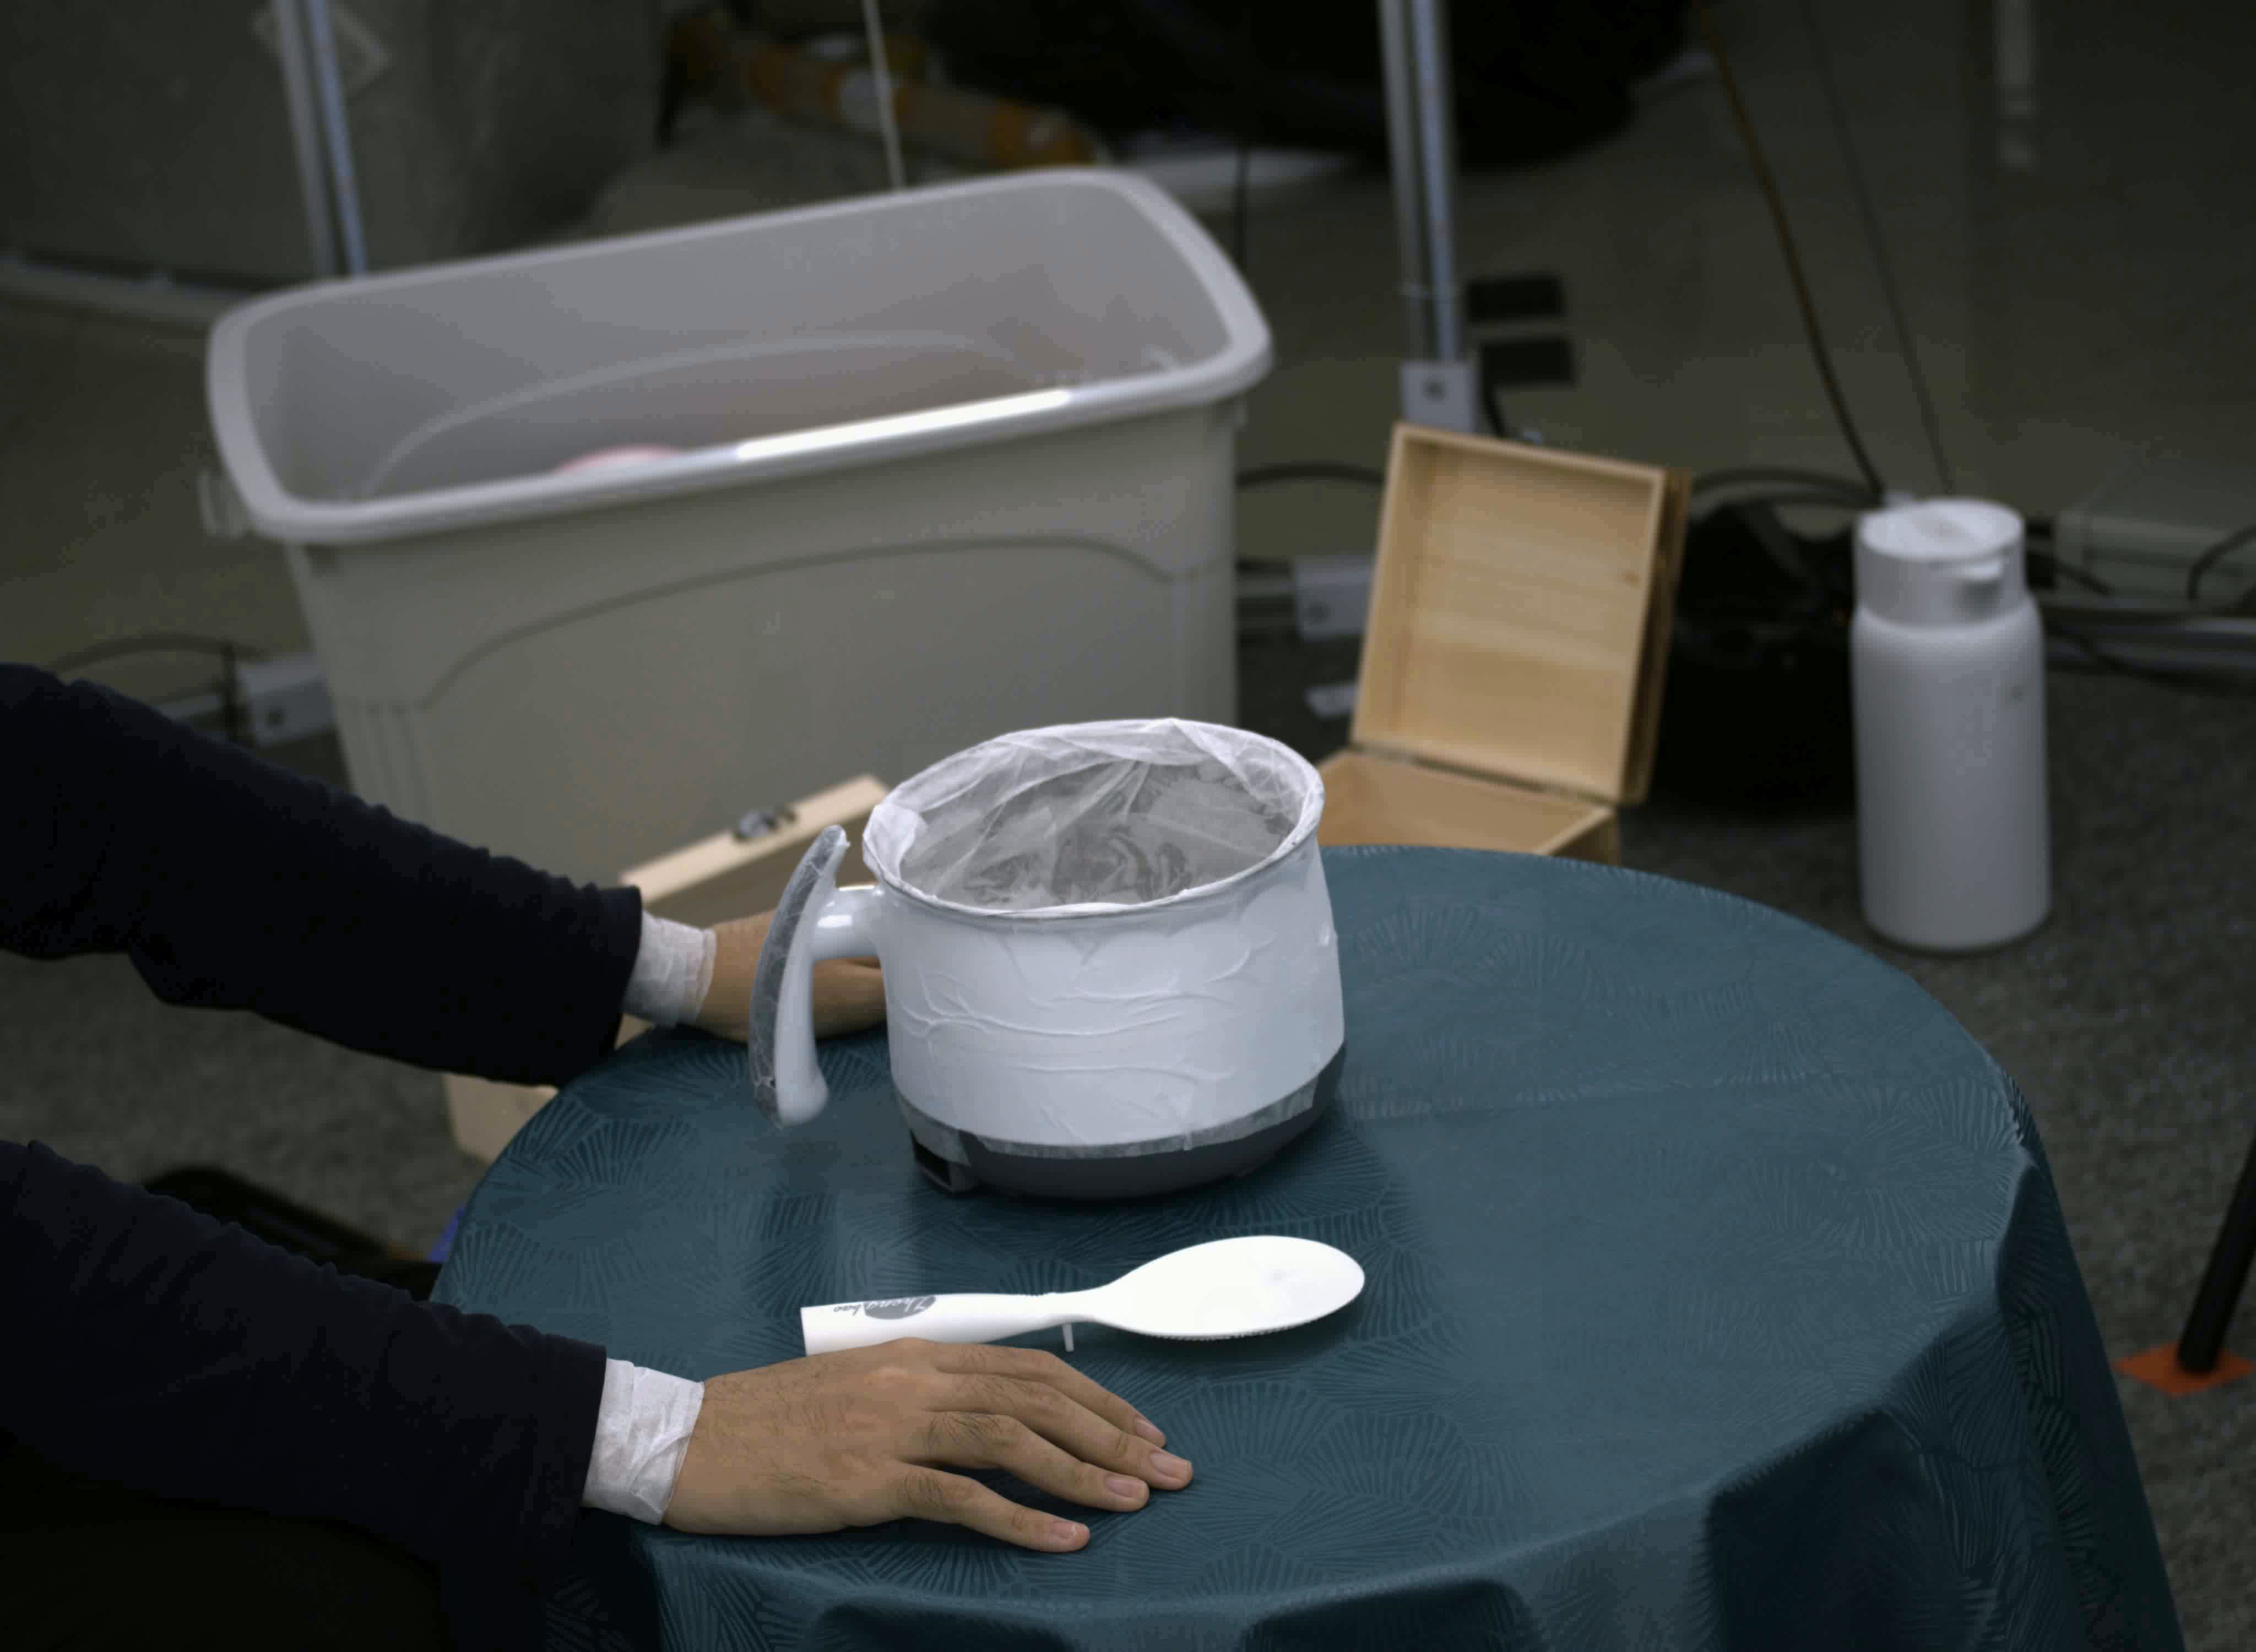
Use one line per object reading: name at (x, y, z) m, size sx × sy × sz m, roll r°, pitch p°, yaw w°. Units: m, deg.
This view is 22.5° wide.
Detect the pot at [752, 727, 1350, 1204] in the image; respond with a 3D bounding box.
pot at (-0.033, 0.059, 2.178) m, size 0.233 × 0.139 × 0.176 m, roll -7°, pitch 23°, yaw 3°

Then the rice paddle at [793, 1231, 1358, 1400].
rice paddle at (-0.018, 0.174, 2.046) m, size 0.205 × 0.030 × 0.068 m, roll -9°, pitch 27°, yaw -3°
